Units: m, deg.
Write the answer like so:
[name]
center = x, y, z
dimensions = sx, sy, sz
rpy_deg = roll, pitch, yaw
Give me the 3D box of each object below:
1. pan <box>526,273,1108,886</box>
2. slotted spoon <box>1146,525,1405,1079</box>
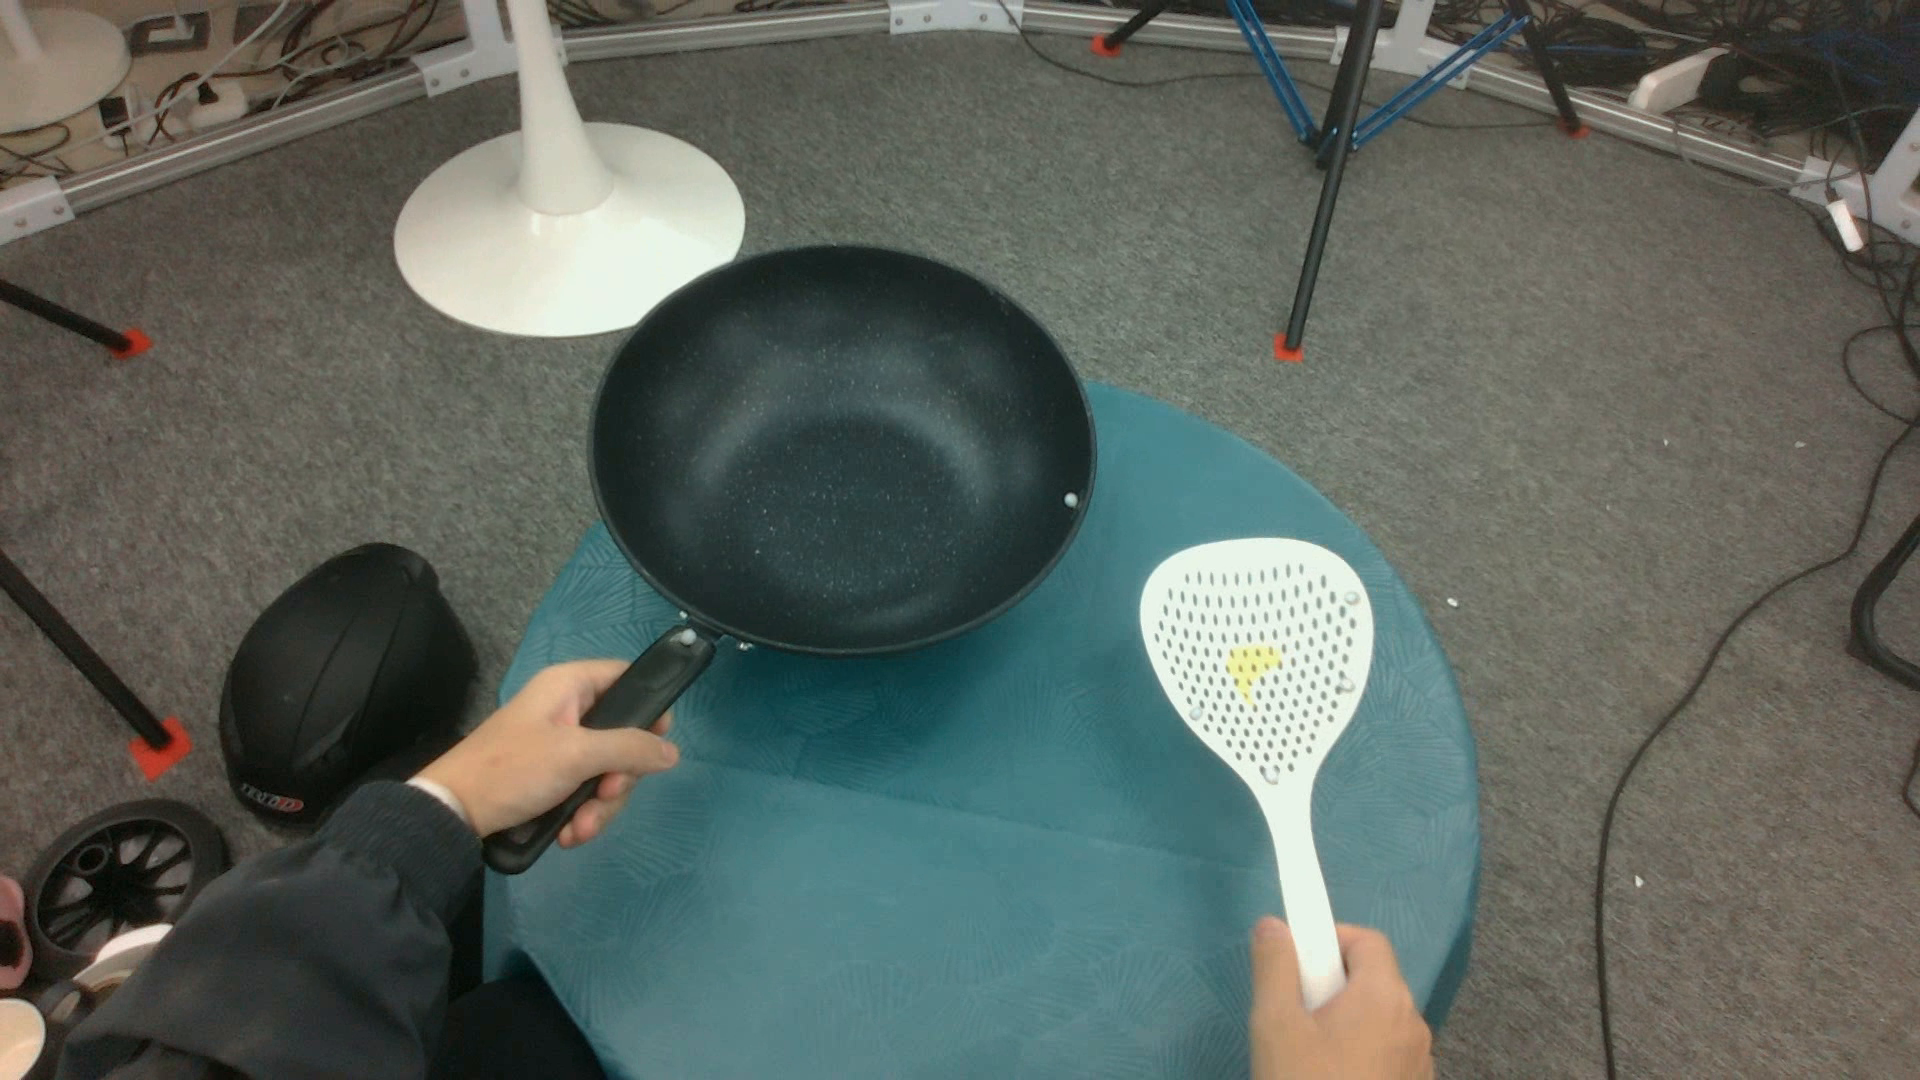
[pan]
center = -0.100, 0.021, 0.843
dimensions = 0.310, 0.111, 0.479
rpy_deg = 23, 58, 14
[slotted spoon]
center = 0.190, 0.133, 0.769
dimensions = 0.137, 0.050, 0.349
rpy_deg = -7, 46, 3
